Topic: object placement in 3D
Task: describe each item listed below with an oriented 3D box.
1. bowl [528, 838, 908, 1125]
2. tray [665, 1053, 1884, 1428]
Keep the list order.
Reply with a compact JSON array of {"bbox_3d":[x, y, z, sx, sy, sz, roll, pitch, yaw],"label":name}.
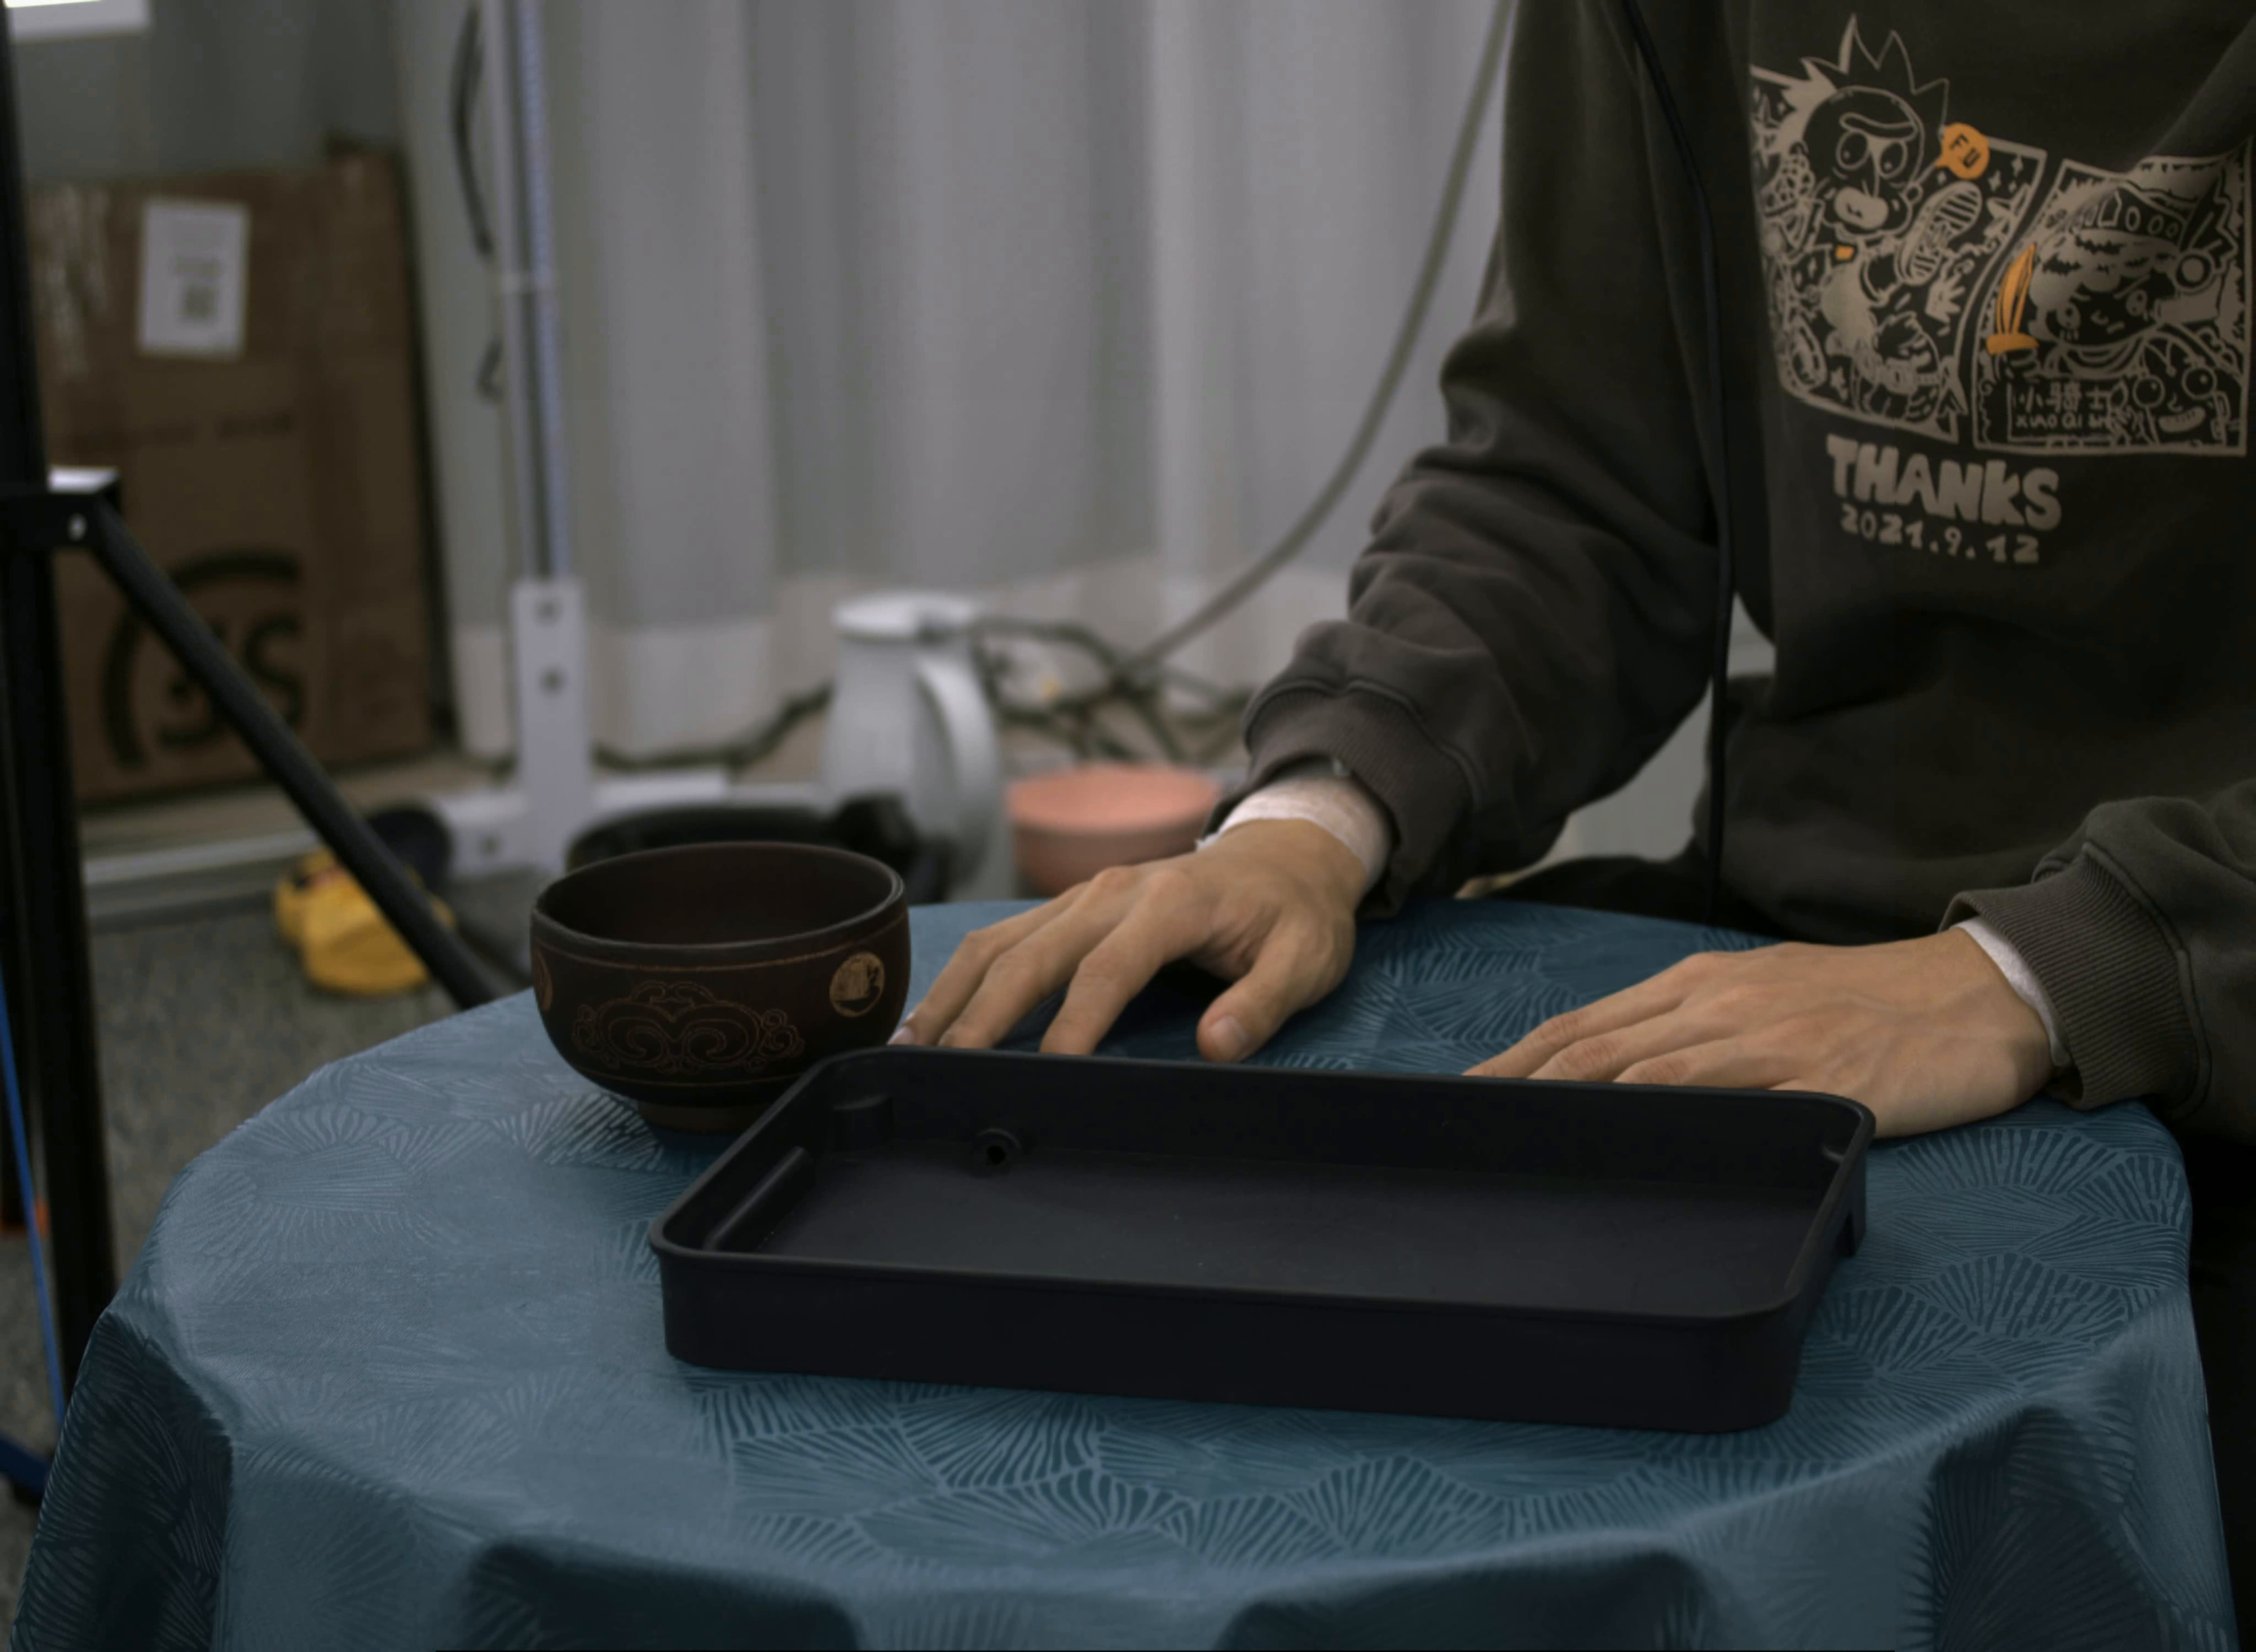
[{"bbox_3d":[-0.126,0.051,1.652,0.117,0.070,0.118,-2,15,-1],"label":"bowl"},{"bbox_3d":[0.045,0.112,1.475,0.320,0.037,0.183,1,16,15],"label":"tray"}]
